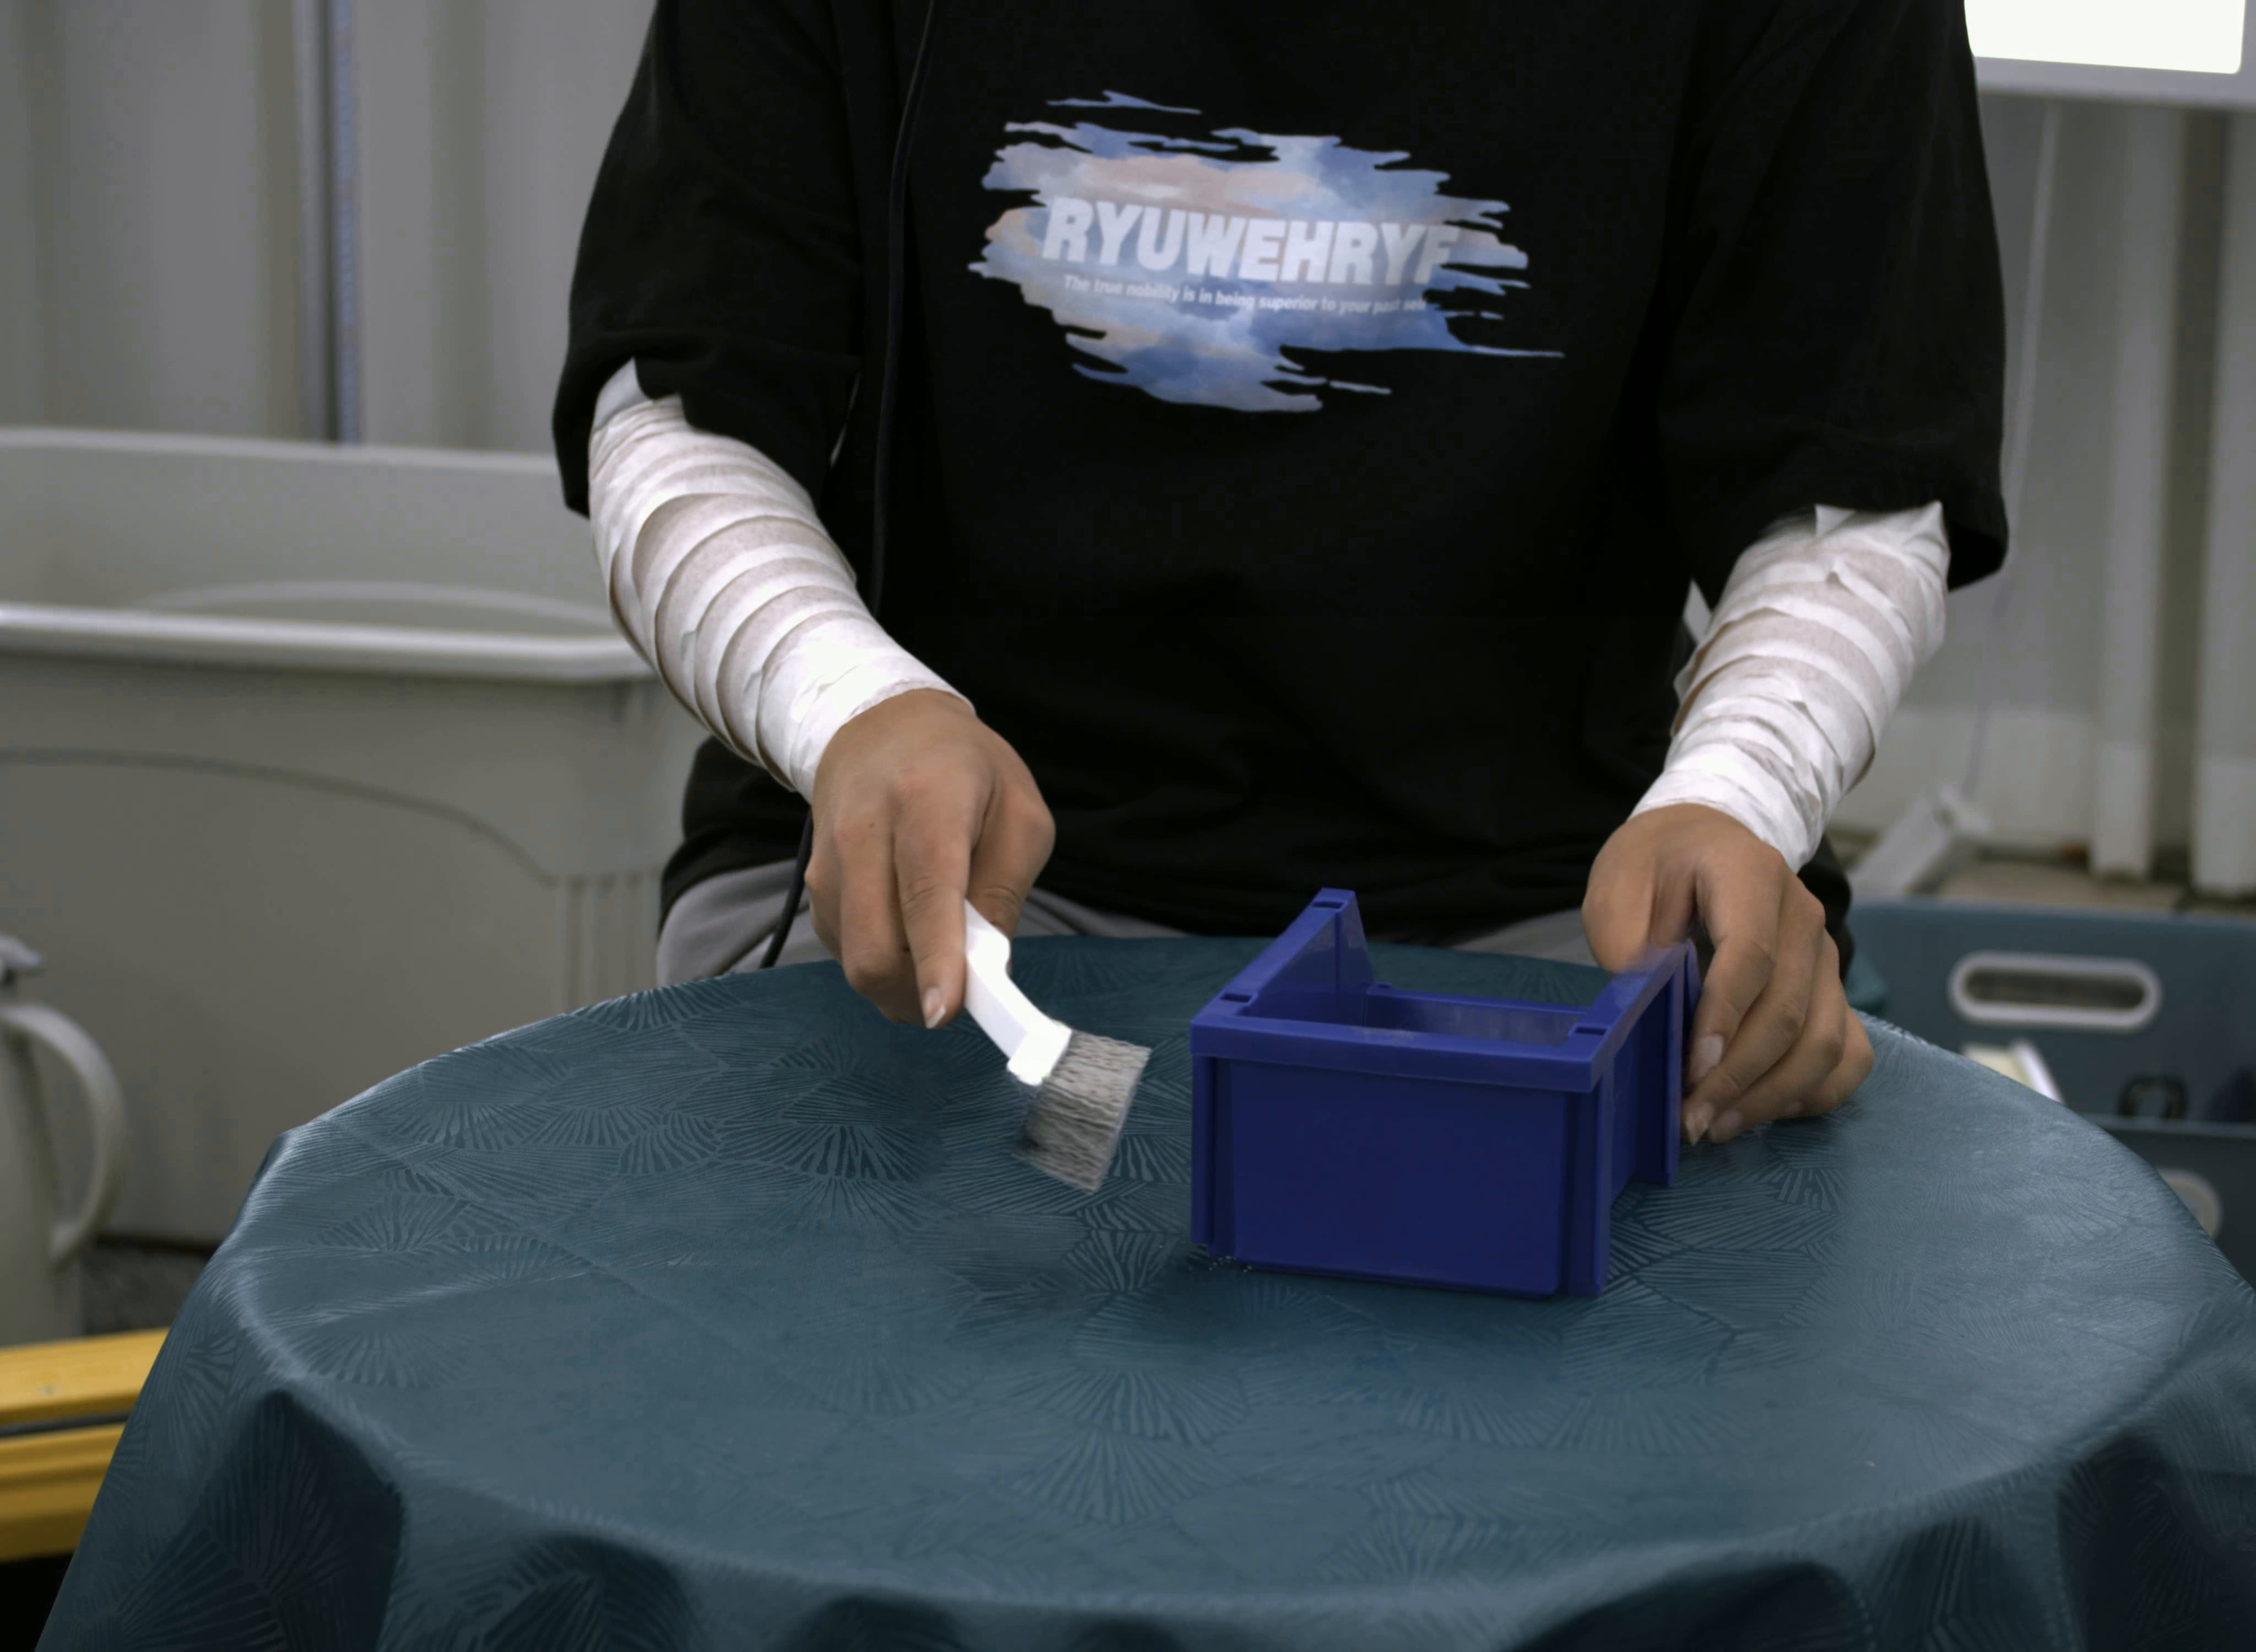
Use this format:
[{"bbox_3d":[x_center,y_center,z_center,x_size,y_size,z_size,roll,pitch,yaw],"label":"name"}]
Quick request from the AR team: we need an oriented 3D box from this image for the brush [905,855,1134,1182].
[{"bbox_3d":[-0.034,0.055,1.616,0.050,0.034,0.242,16,12,-12],"label":"brush"}]

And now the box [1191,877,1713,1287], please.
[{"bbox_3d":[0.101,0.074,1.614,0.123,0.082,0.179,5,17,17],"label":"box"}]
